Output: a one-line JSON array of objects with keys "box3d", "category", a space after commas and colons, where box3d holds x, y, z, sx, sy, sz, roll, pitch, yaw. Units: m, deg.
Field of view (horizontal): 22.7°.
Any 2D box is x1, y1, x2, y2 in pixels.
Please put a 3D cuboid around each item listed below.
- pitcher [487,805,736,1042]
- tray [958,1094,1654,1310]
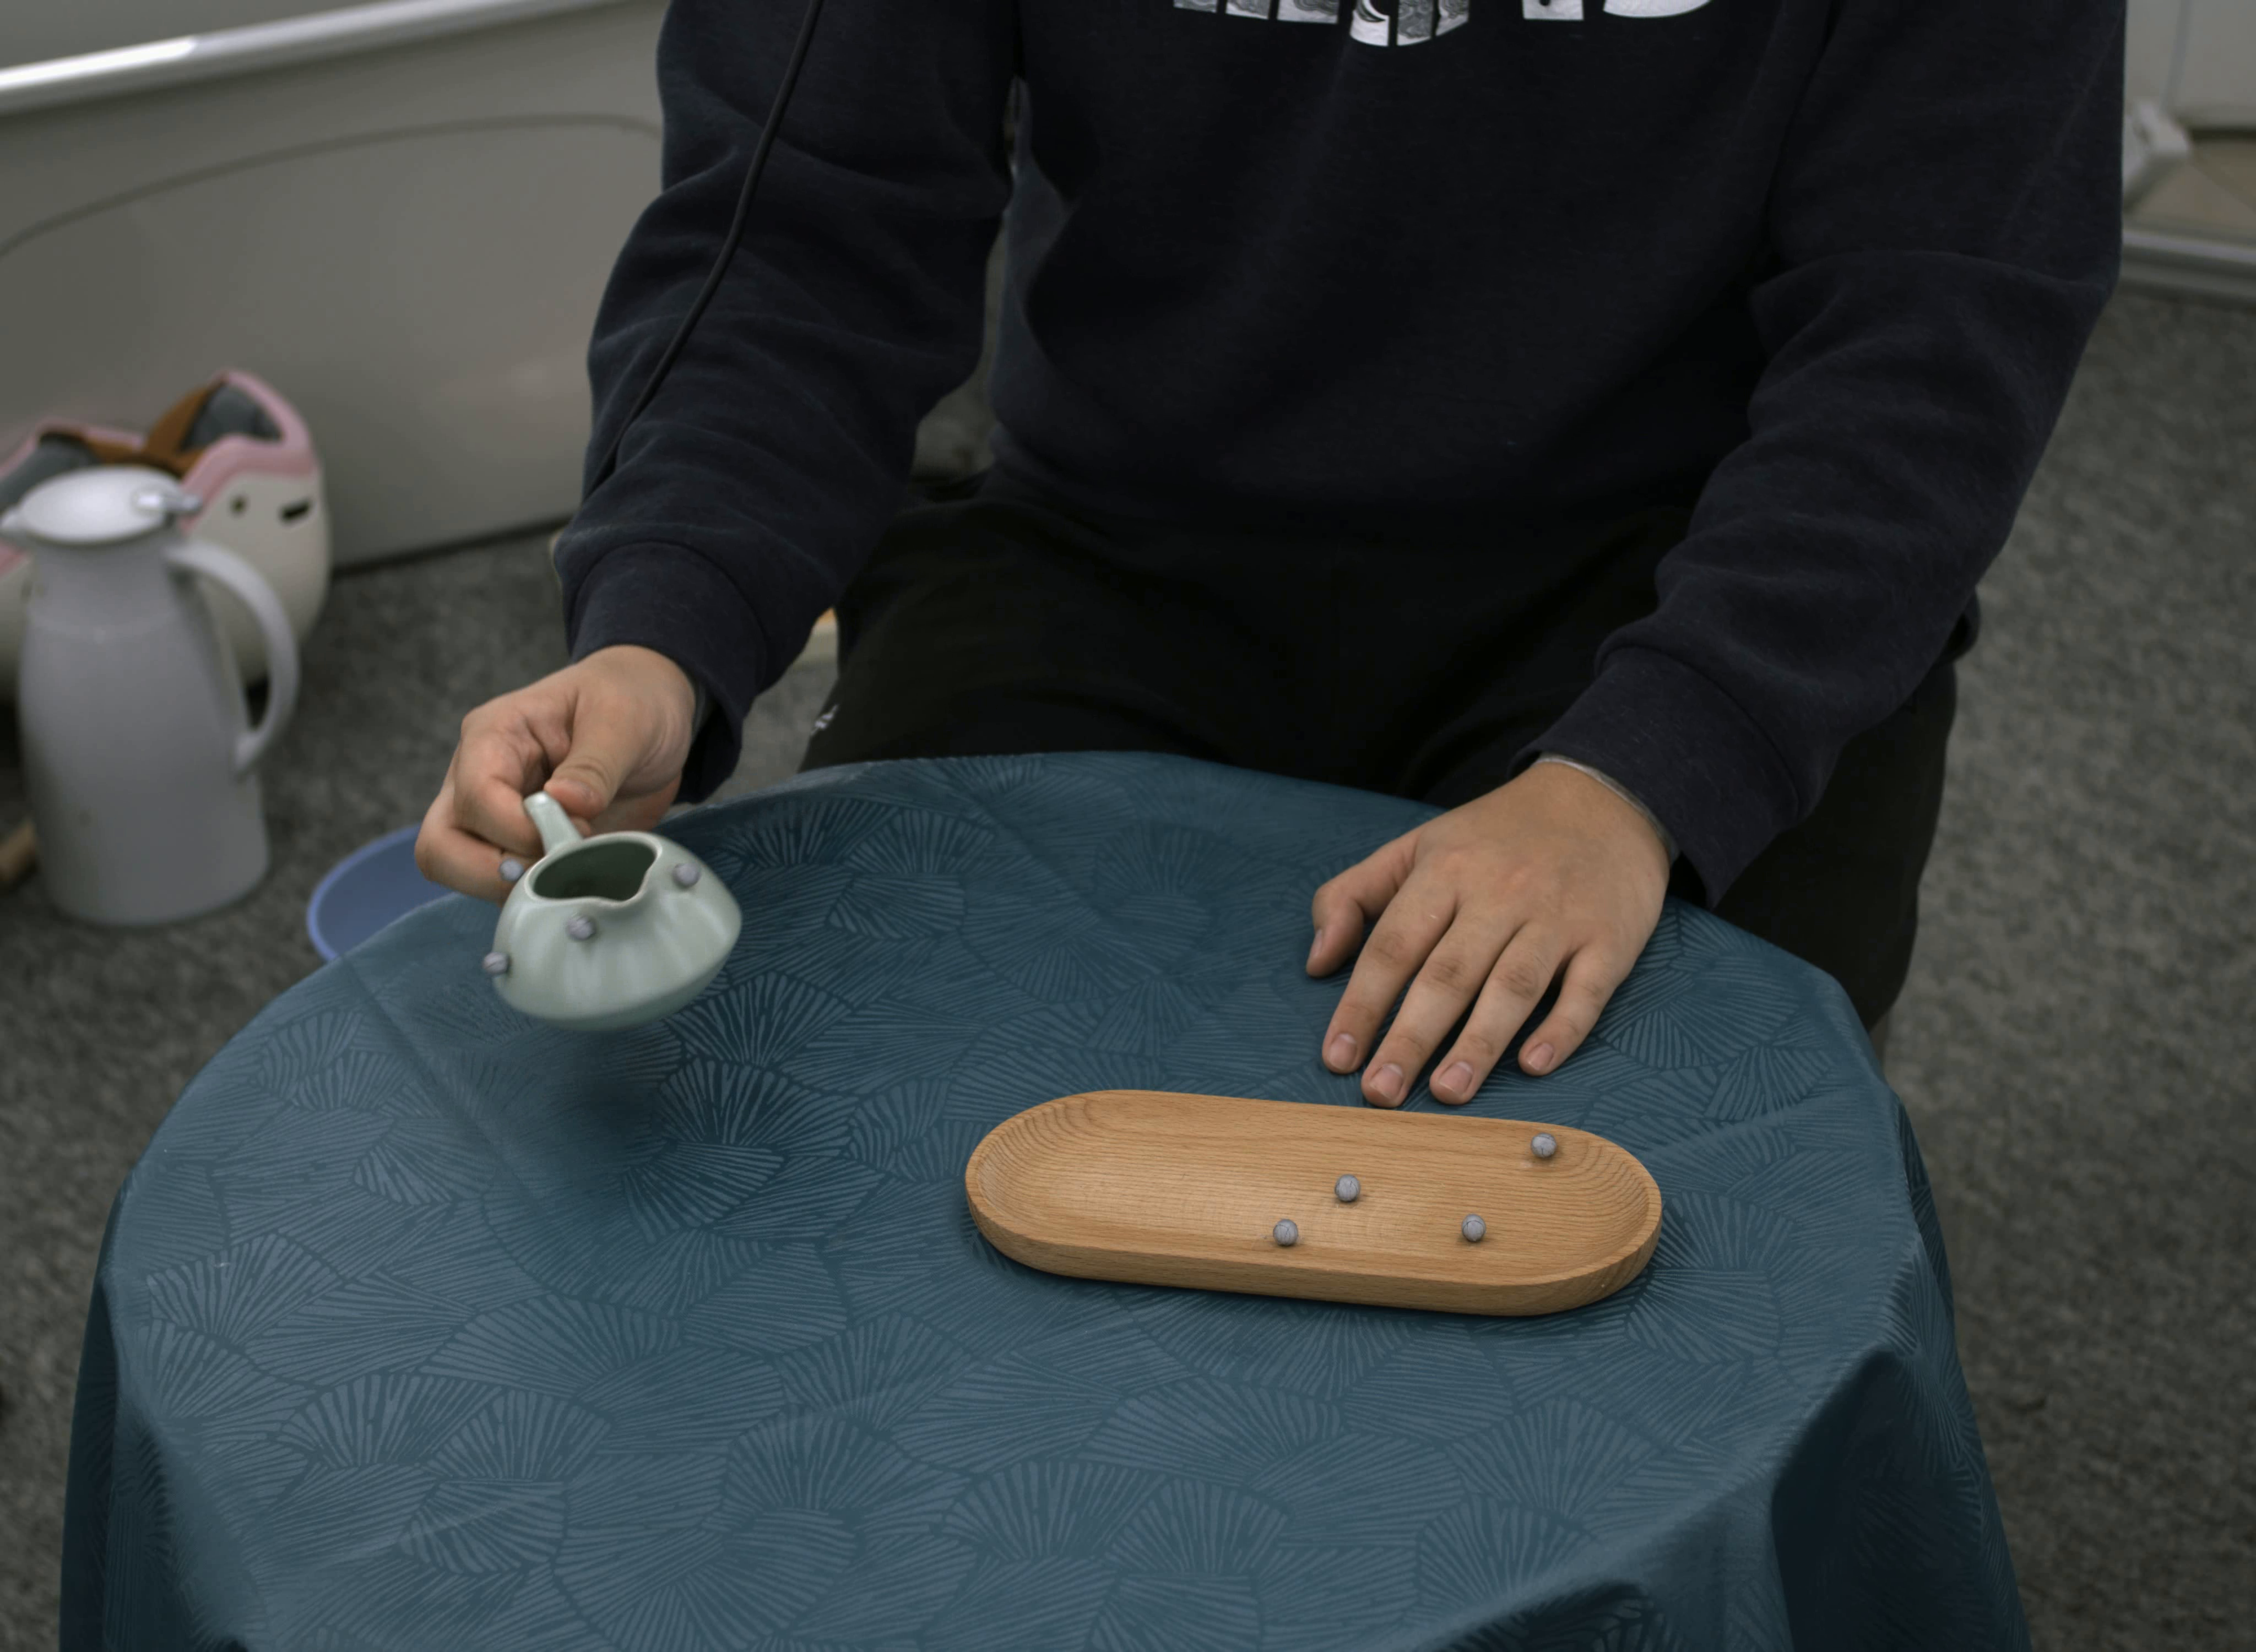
[{"box3d": [-0.181, 0.033, 1.908, 0.086, 0.060, 0.108, -22, 26, -18], "category": "pitcher"}, {"box3d": [0.057, 0.123, 1.840, 0.229, 0.020, 0.103, 2, 26, 13], "category": "tray"}]
